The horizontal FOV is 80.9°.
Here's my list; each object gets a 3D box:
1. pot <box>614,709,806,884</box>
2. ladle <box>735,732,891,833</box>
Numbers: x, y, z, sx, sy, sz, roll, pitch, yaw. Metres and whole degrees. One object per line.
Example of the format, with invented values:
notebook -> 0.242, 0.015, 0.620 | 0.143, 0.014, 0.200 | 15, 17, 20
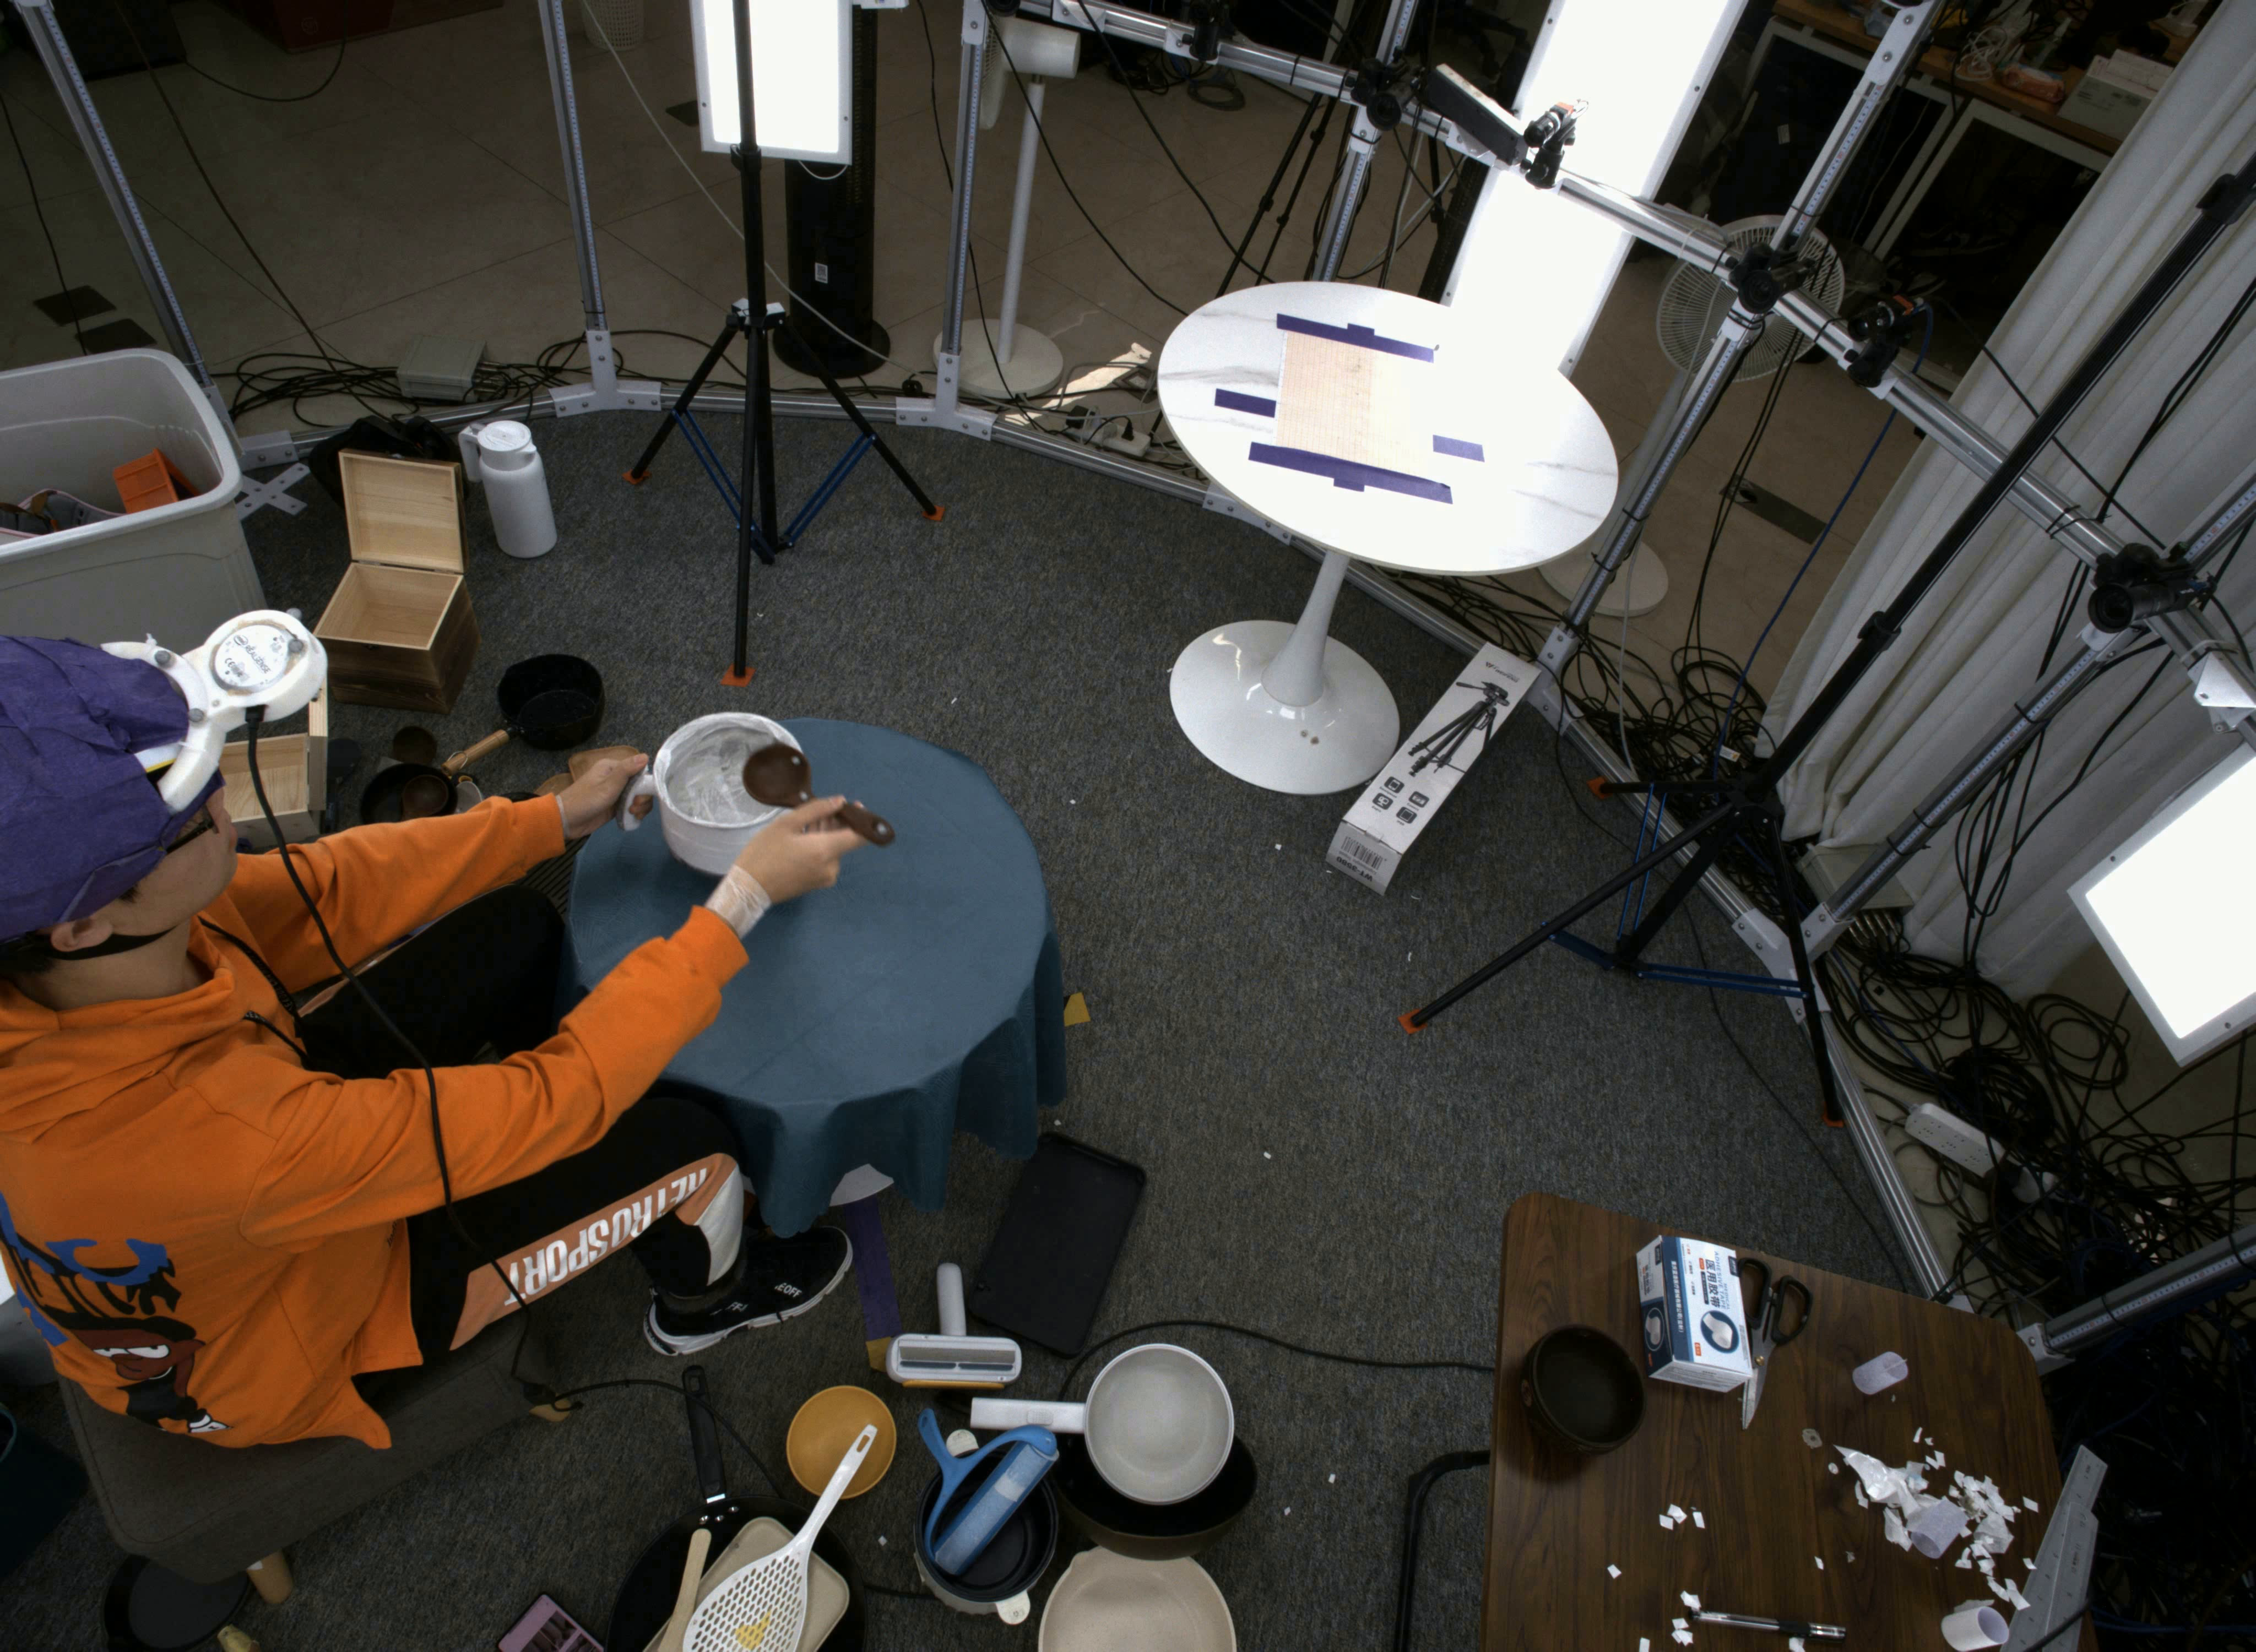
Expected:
pot -> -0.509, -0.032, 1.561 | 0.234, 0.139, 0.175 | 0, 54, -13
ladle -> -0.327, -0.046, 1.335 | 0.250, 0.067, 0.076 | 17, 57, 48
